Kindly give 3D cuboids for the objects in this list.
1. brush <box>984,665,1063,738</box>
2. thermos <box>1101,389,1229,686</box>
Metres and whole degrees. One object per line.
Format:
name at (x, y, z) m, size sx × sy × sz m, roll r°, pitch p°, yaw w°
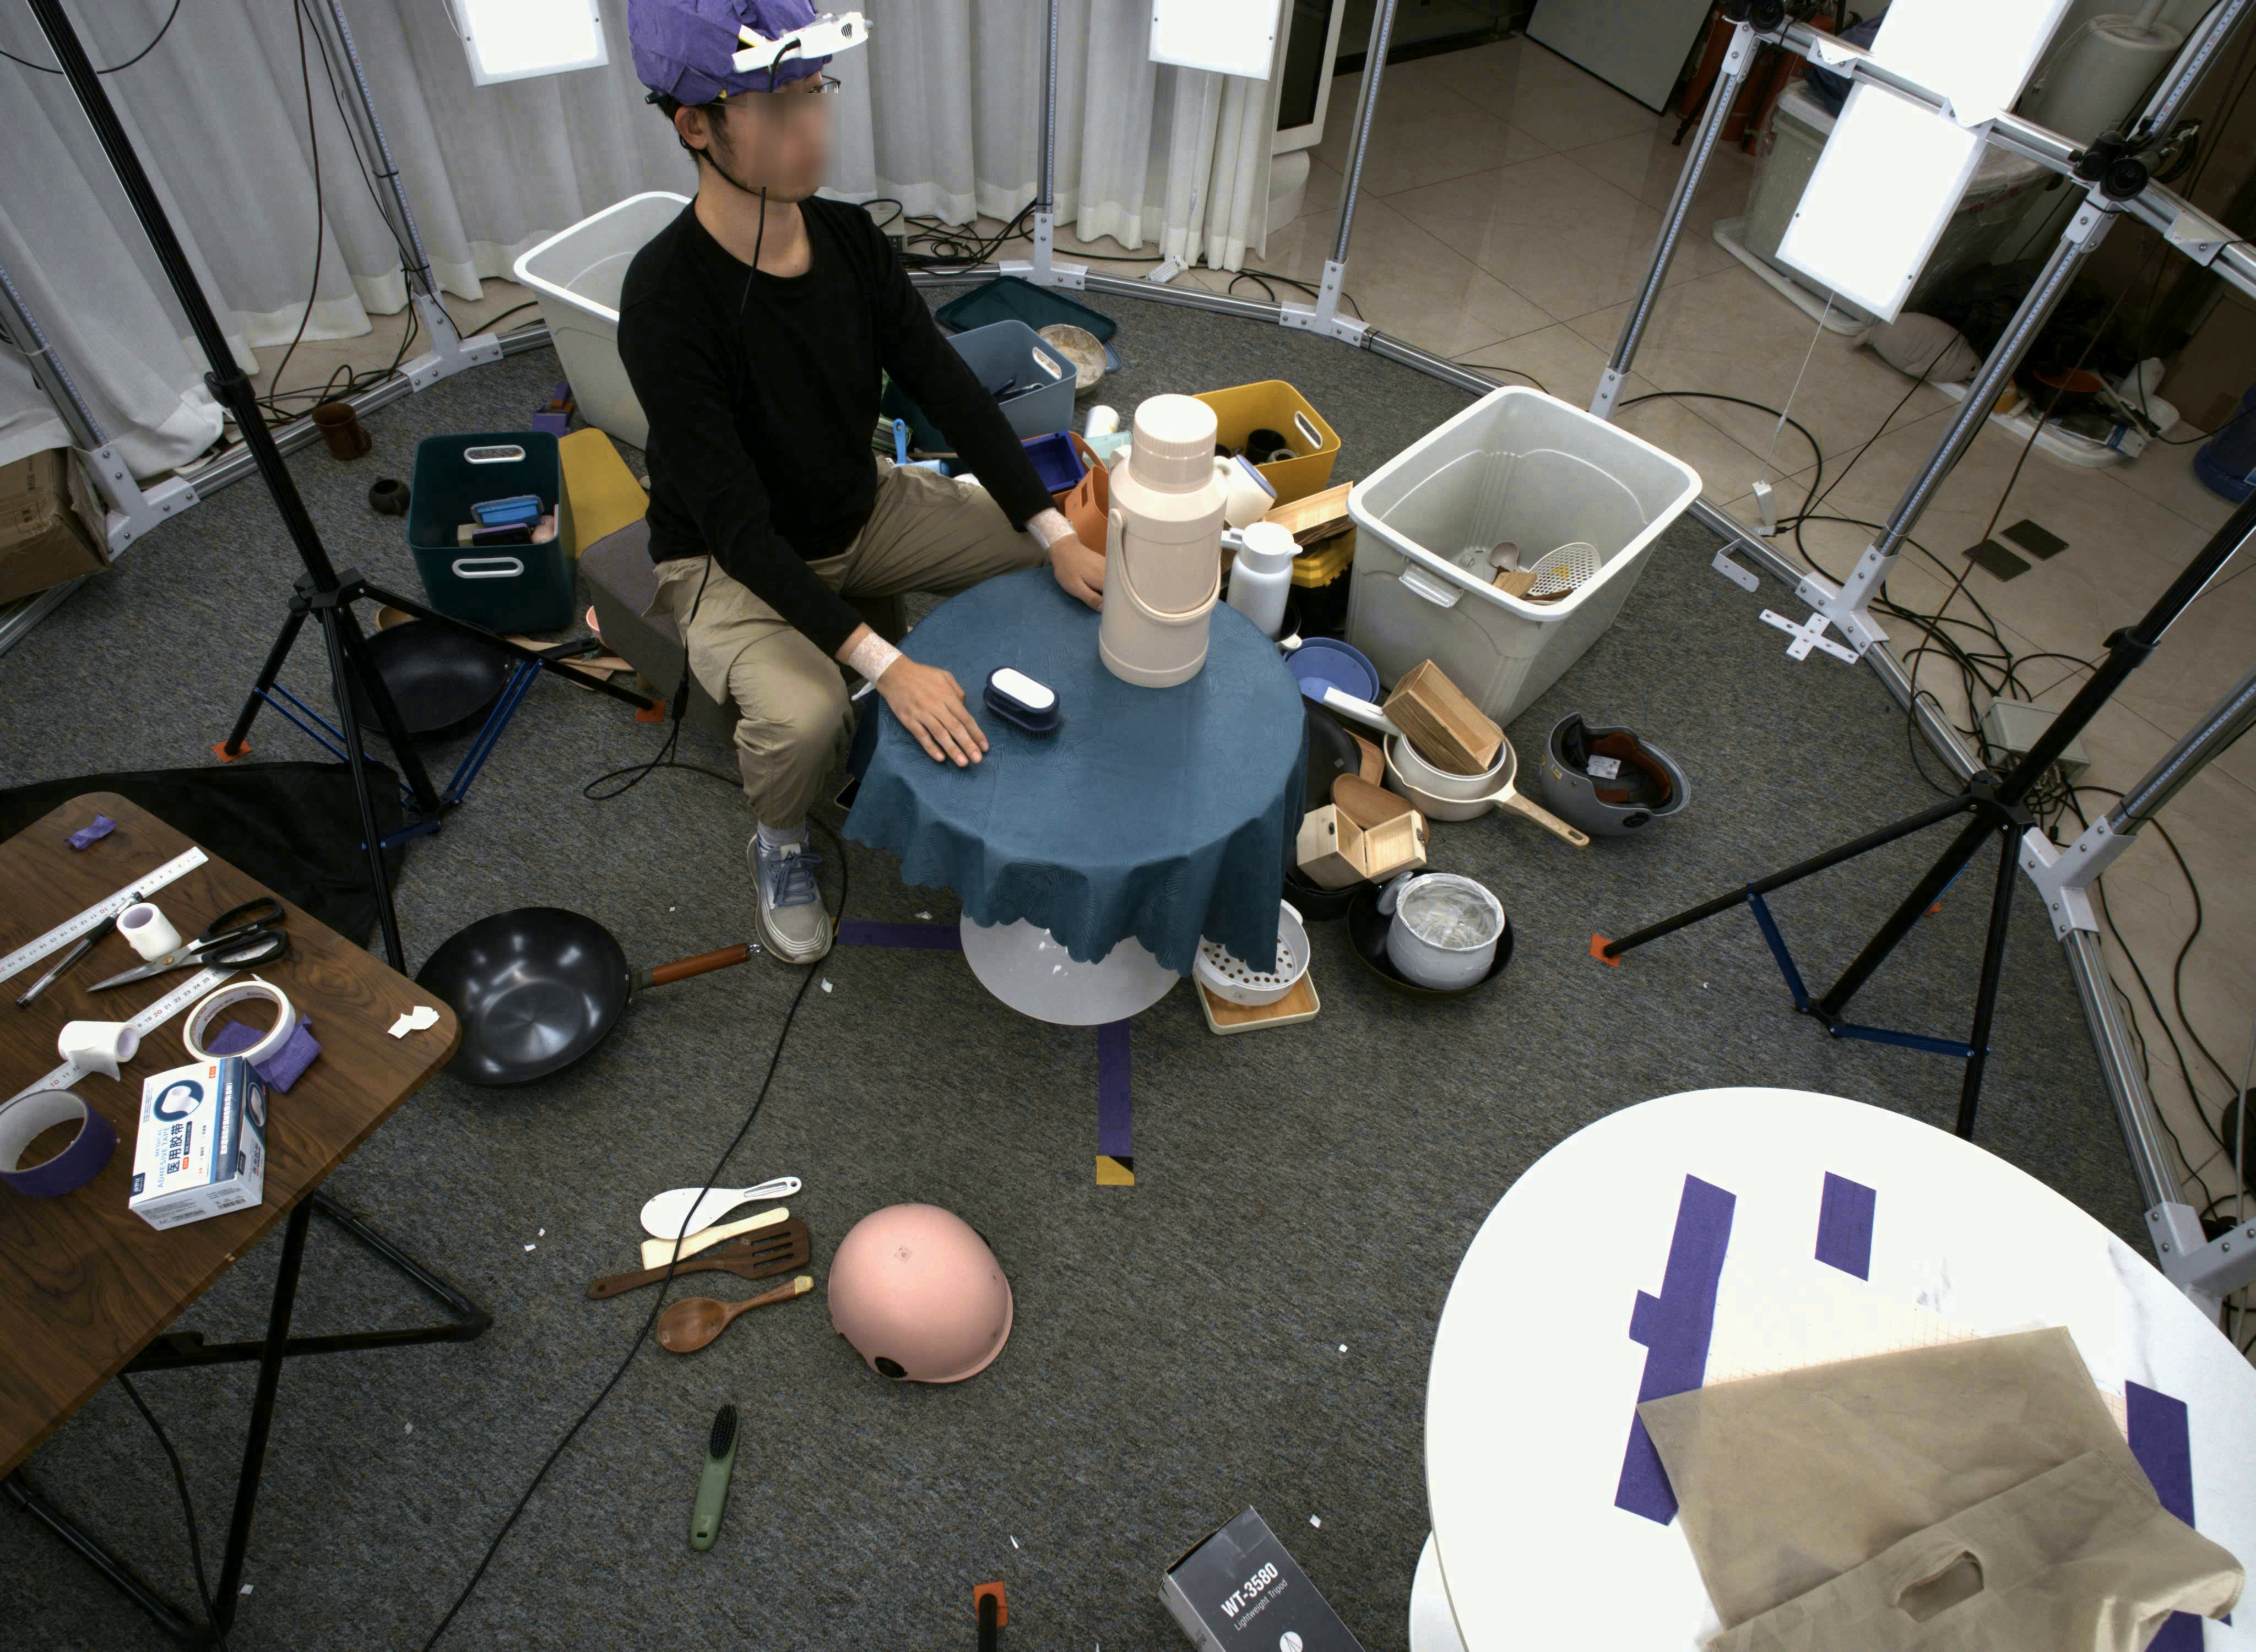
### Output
brush at (-0.144, -0.170, 1.772) m, size 0.123 × 0.060 × 0.069 m, roll 34°, pitch 52°, yaw 20°
thermos at (0.042, -0.396, 1.760) m, size 0.176 × 0.396 × 0.211 m, roll -28°, pitch 57°, yaw -23°
